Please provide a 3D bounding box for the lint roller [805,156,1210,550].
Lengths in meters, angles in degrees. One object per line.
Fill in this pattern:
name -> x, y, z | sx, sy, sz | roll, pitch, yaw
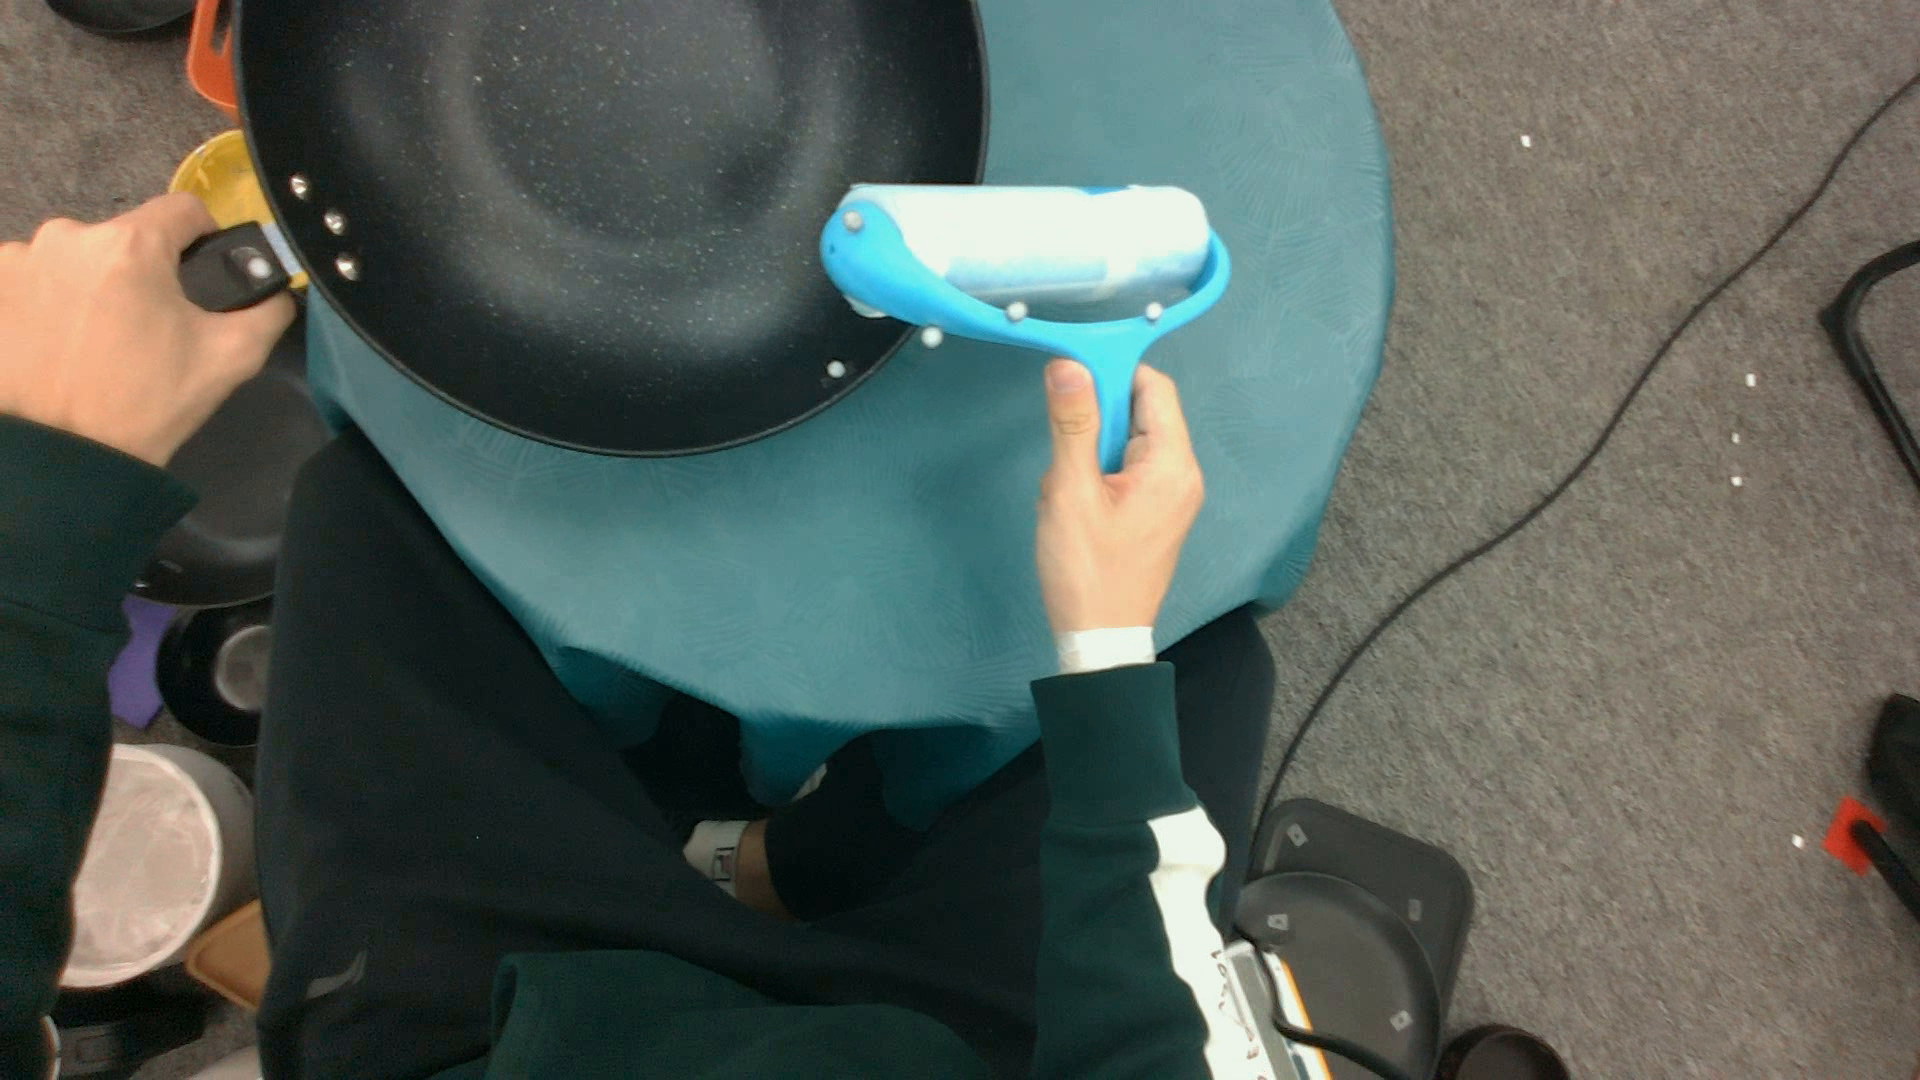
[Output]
lint roller -> 0.043, -0.088, 0.629 | 0.230, 0.067, 0.180 | -19, 93, -42

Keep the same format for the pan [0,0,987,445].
pan -> -0.219, -0.162, 0.602 | 0.477, 0.112, 0.309 | -26, 113, -6
